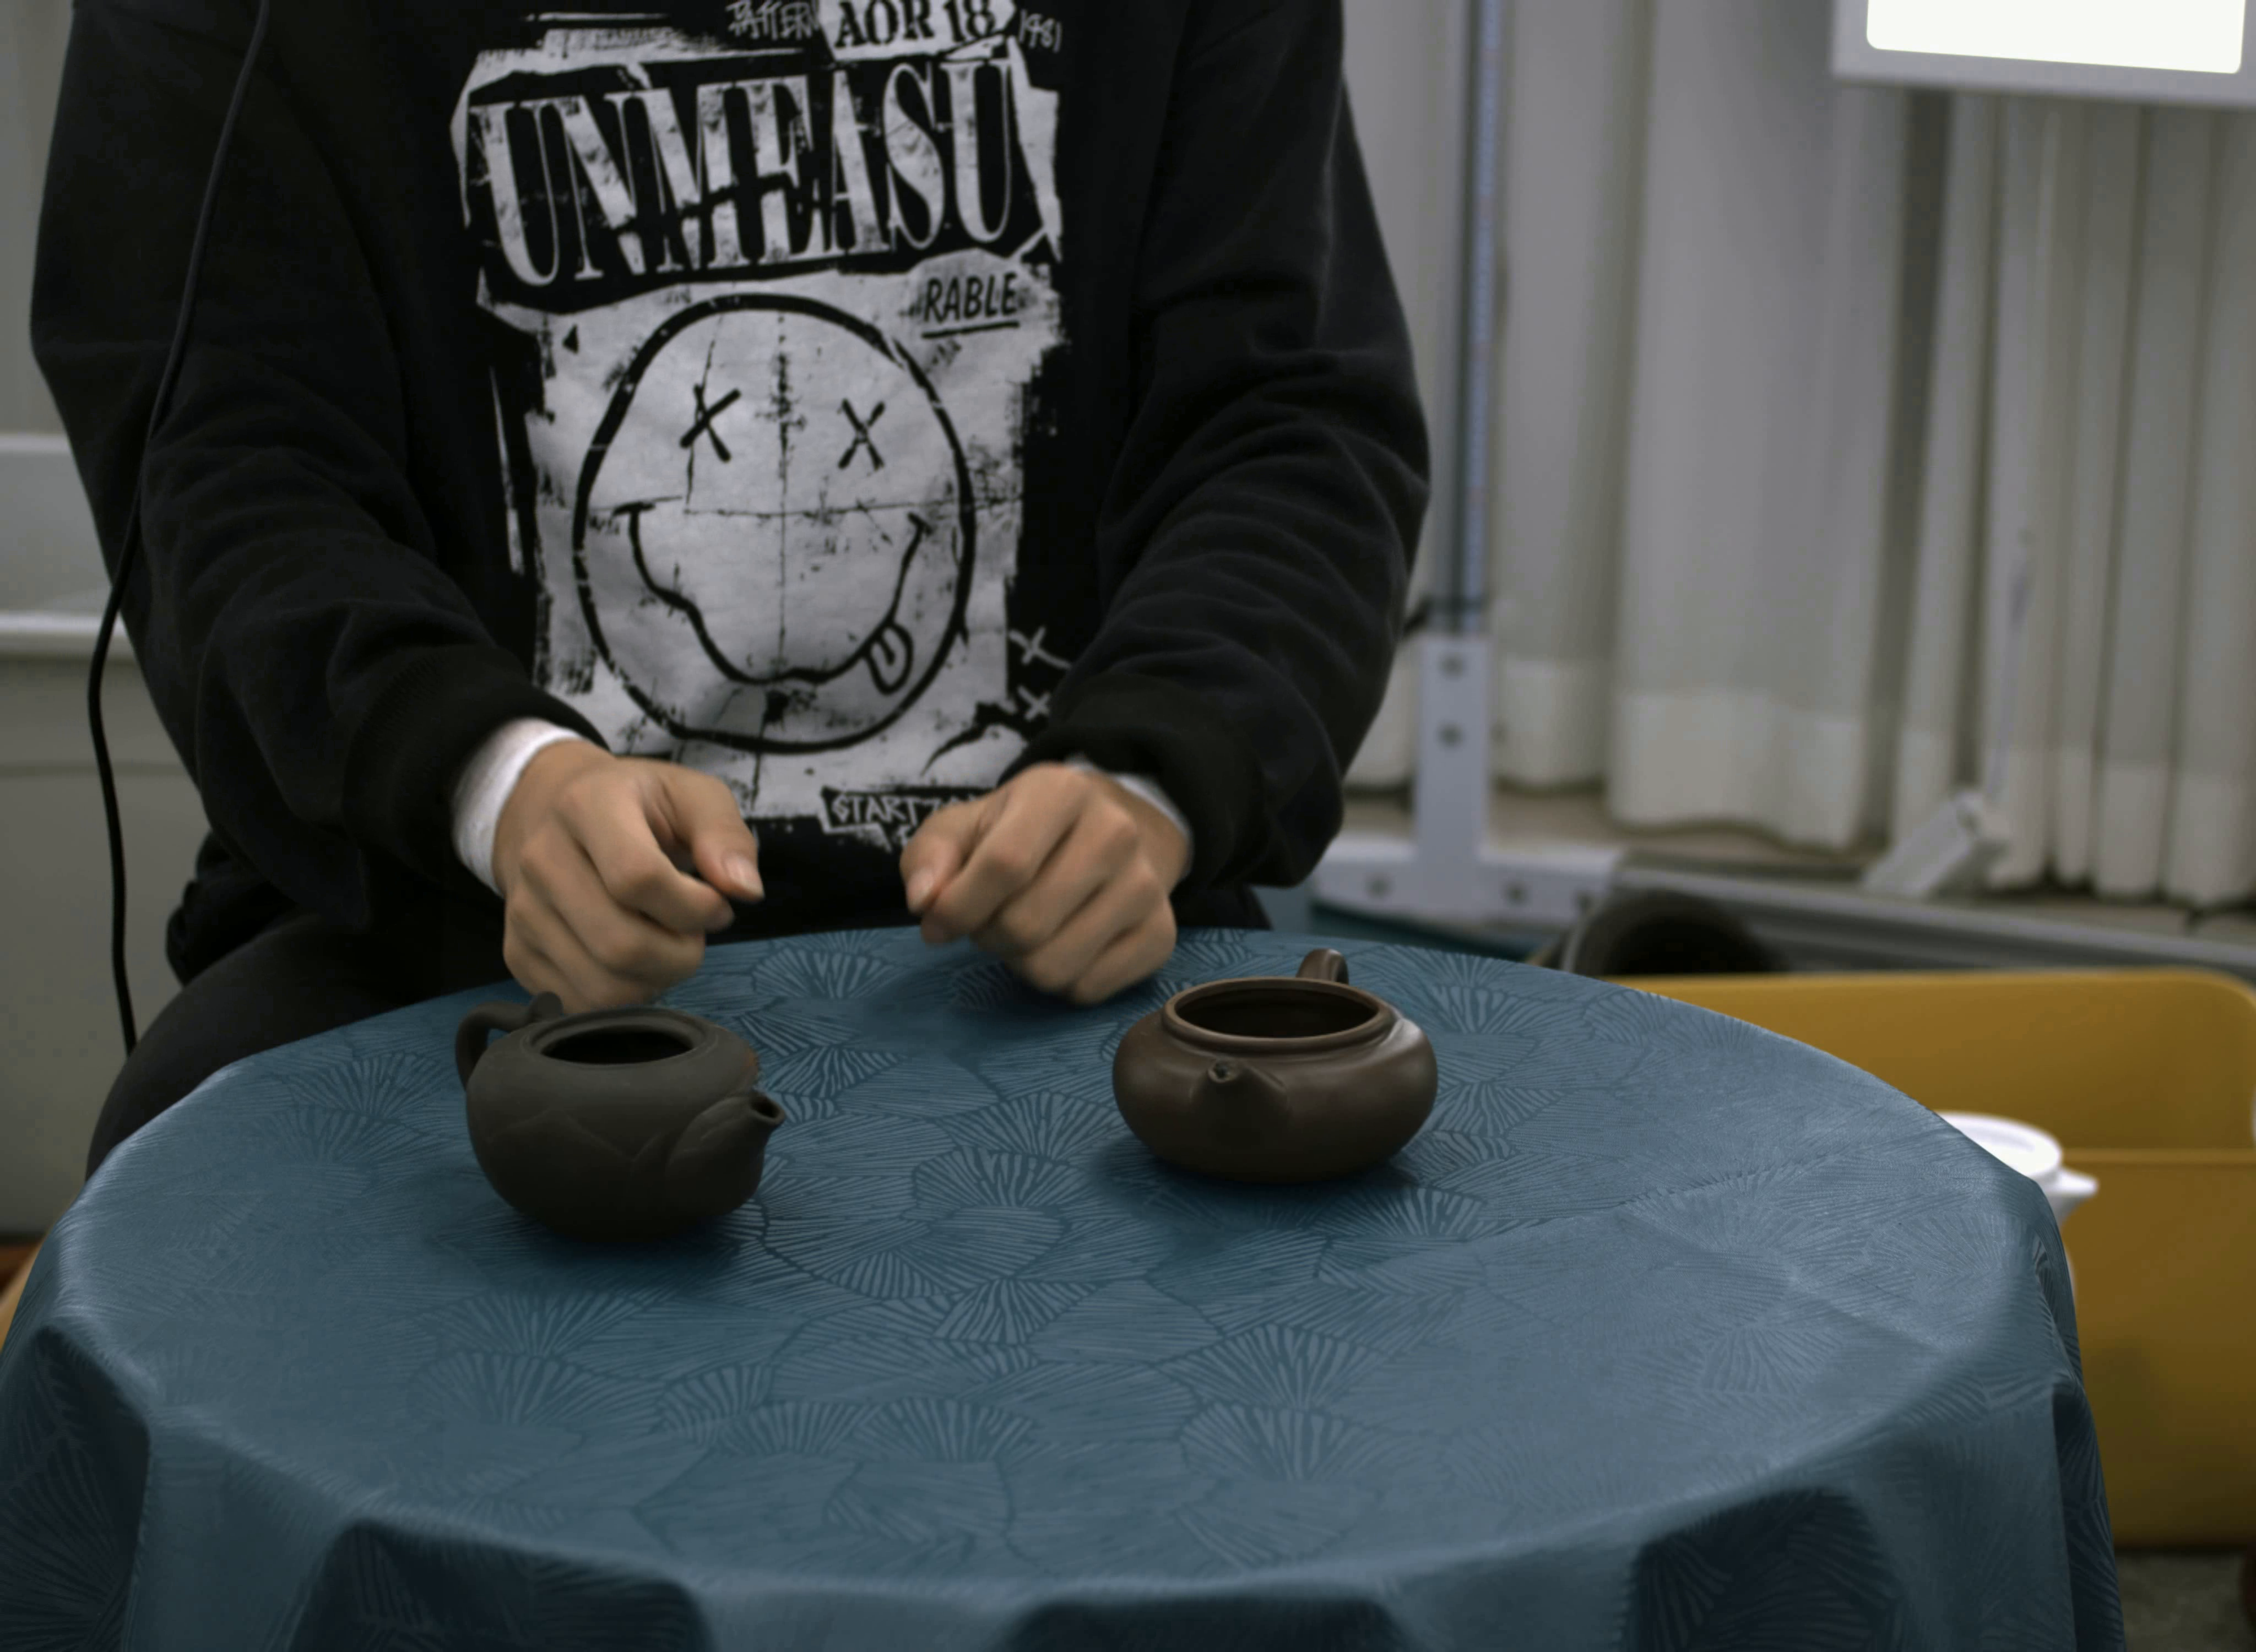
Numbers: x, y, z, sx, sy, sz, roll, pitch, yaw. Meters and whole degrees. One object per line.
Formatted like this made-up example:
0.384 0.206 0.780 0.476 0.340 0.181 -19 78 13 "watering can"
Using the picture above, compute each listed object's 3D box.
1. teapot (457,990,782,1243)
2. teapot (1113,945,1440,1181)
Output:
-0.155 0.087 1.588 0.093 0.065 0.152 -11 20 -42 "teapot"
0.047 0.075 1.654 0.102 0.054 0.153 5 17 8 "teapot"
